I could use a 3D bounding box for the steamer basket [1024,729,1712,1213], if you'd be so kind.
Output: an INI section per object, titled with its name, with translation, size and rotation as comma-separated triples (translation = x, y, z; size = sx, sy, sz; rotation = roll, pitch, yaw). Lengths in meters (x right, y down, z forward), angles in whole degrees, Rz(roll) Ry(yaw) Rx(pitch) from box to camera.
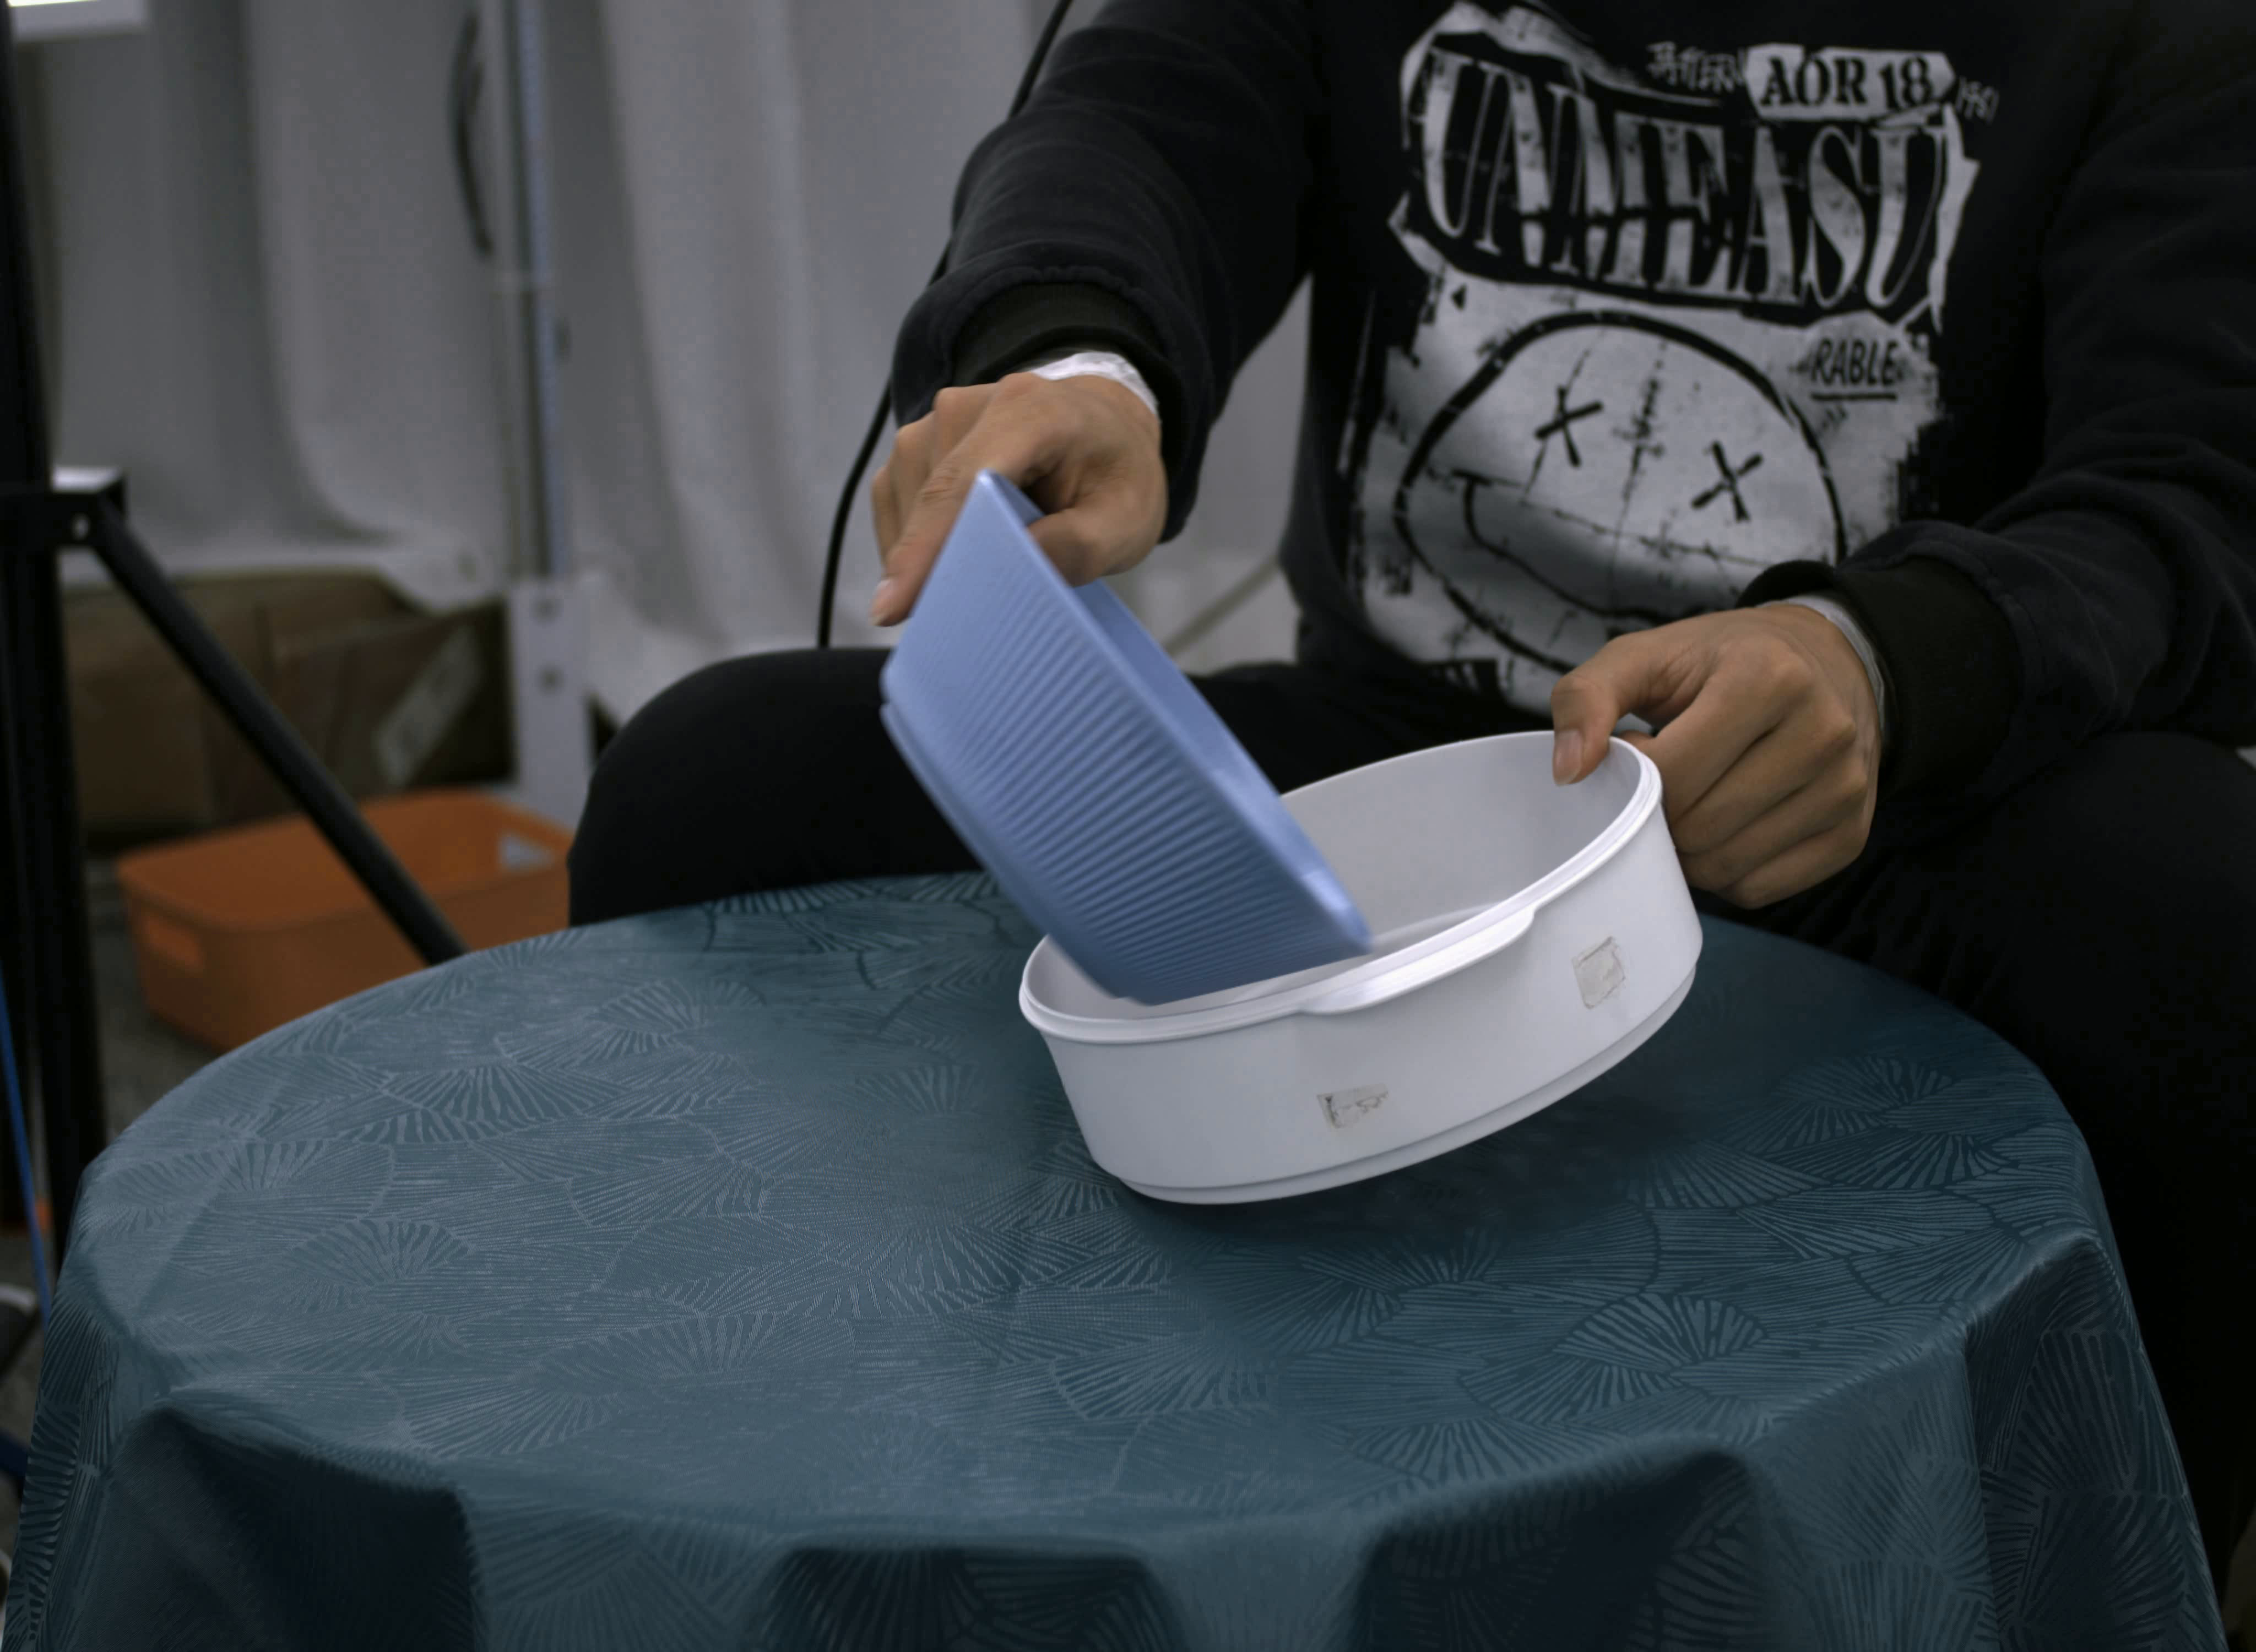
[steamer basket]
translation = 0.073, 0.044, 1.566
size = 0.200, 0.069, 0.233
rotation = -23, 18, -6

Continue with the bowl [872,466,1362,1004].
[bowl]
translation = -0.013, -0.015, 1.514
size = 0.070, 0.174, 0.177
rotation = -39, 16, 5
